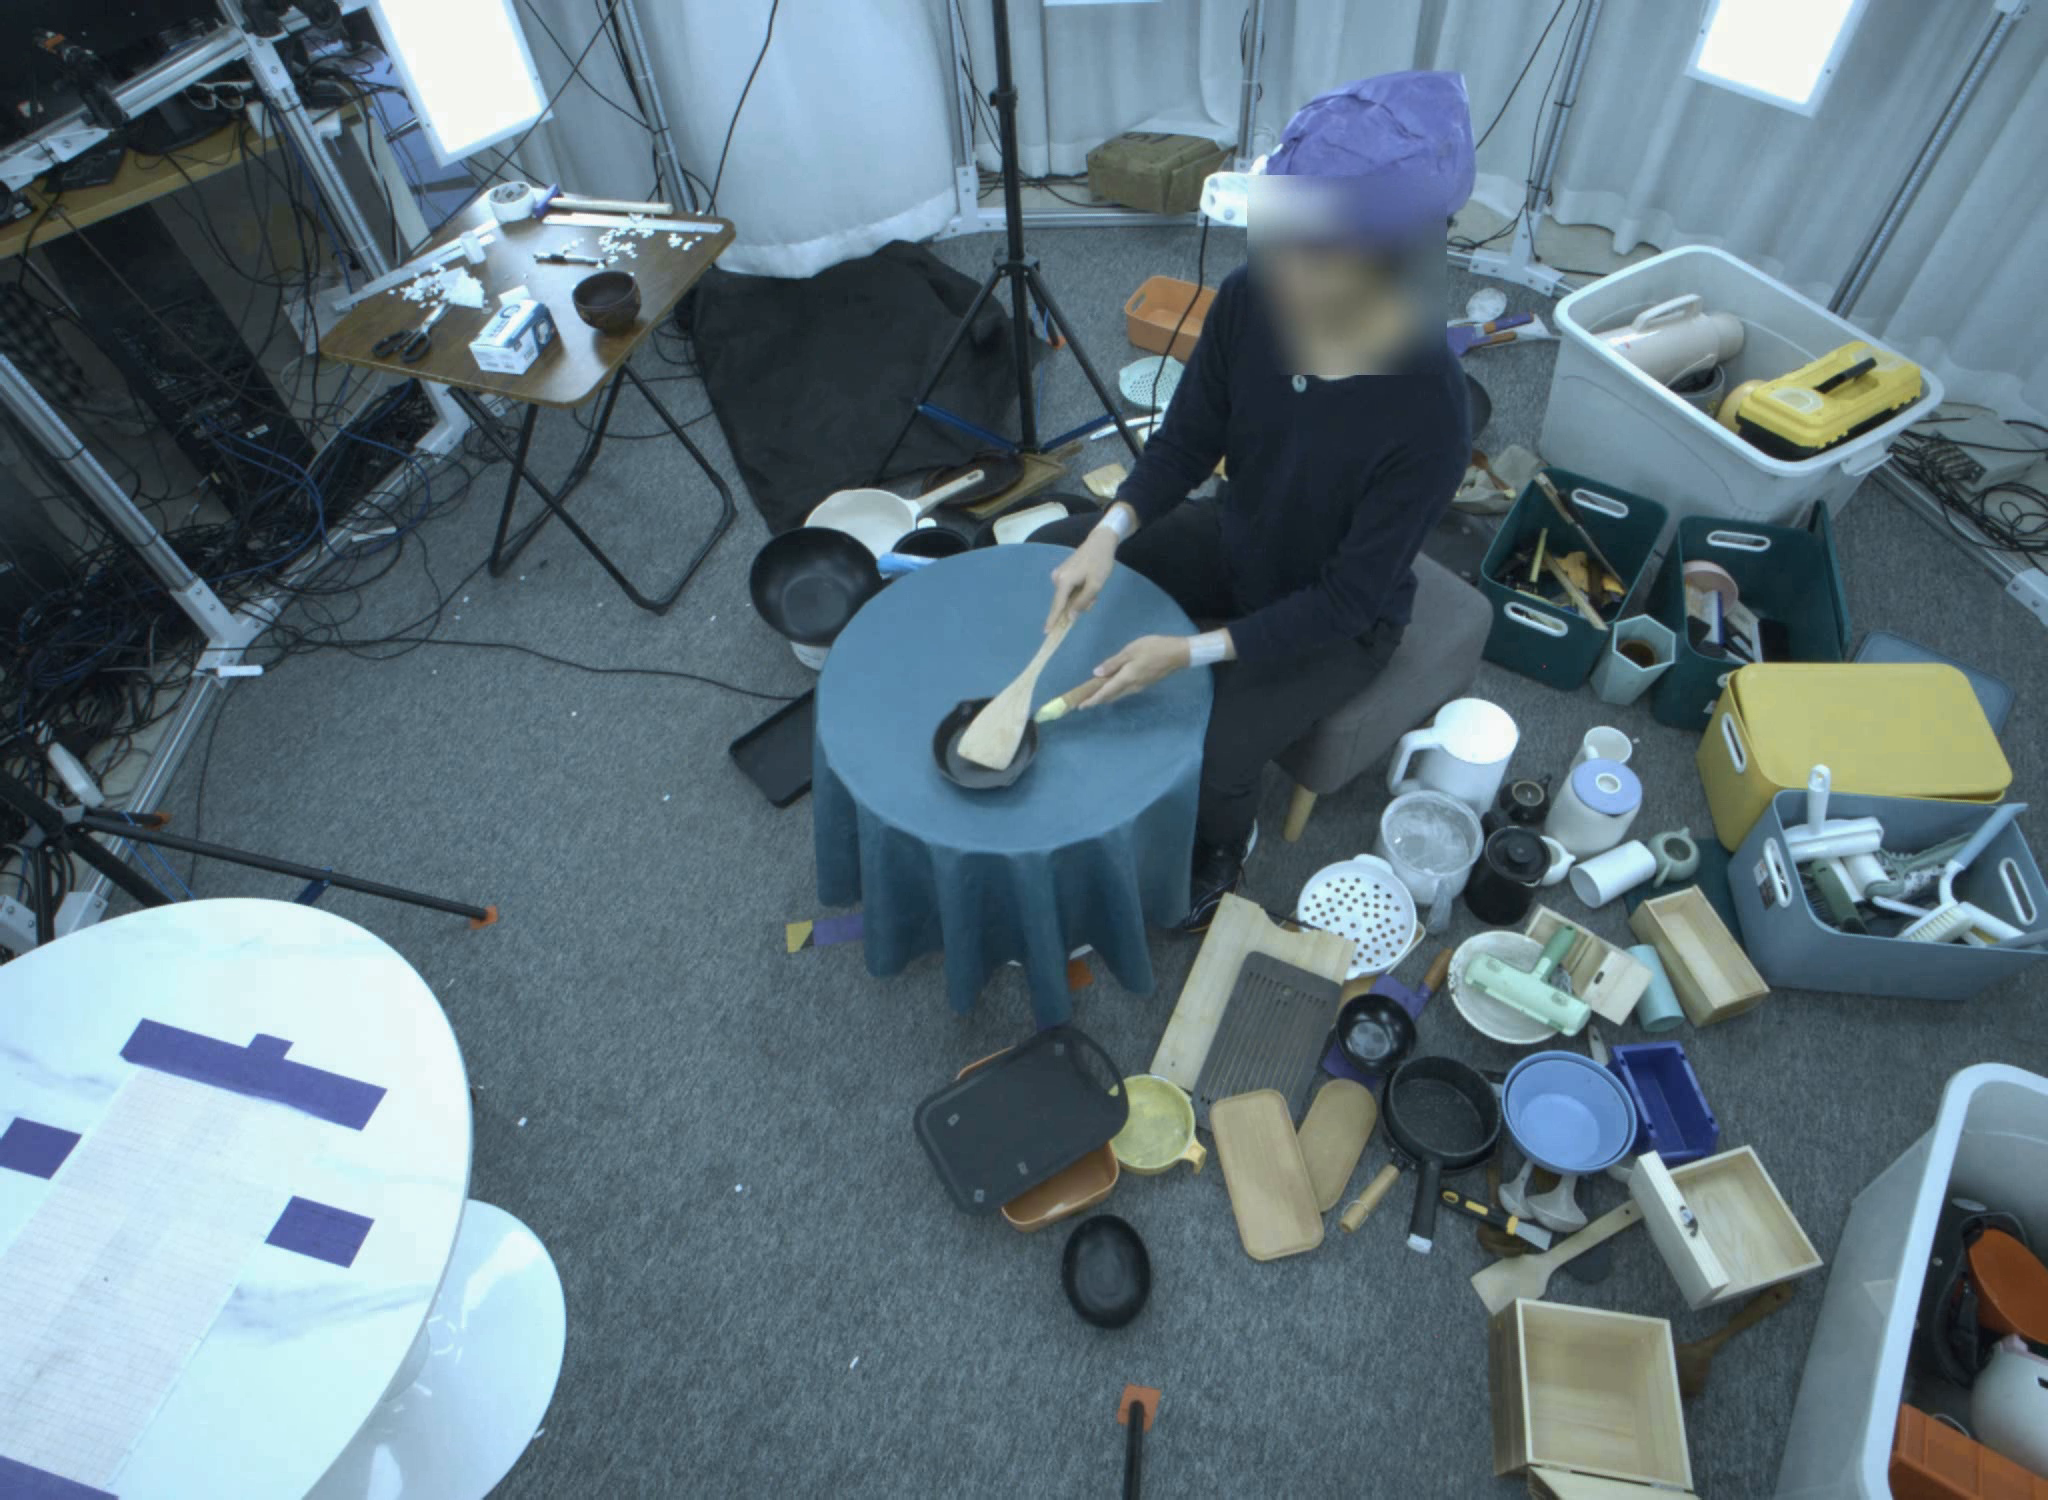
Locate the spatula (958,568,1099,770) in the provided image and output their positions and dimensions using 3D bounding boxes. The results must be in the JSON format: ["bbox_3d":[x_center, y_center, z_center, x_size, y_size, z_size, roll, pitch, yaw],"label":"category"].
[{"bbox_3d":[0.019,-0.118,1.760,0.080,0.016,0.327,31,90,-7],"label":"spatula"}]

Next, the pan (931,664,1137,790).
[{"bbox_3d":[0.022,-0.044,1.773,0.325,0.050,0.166,-25,57,-8],"label":"pan"}]
